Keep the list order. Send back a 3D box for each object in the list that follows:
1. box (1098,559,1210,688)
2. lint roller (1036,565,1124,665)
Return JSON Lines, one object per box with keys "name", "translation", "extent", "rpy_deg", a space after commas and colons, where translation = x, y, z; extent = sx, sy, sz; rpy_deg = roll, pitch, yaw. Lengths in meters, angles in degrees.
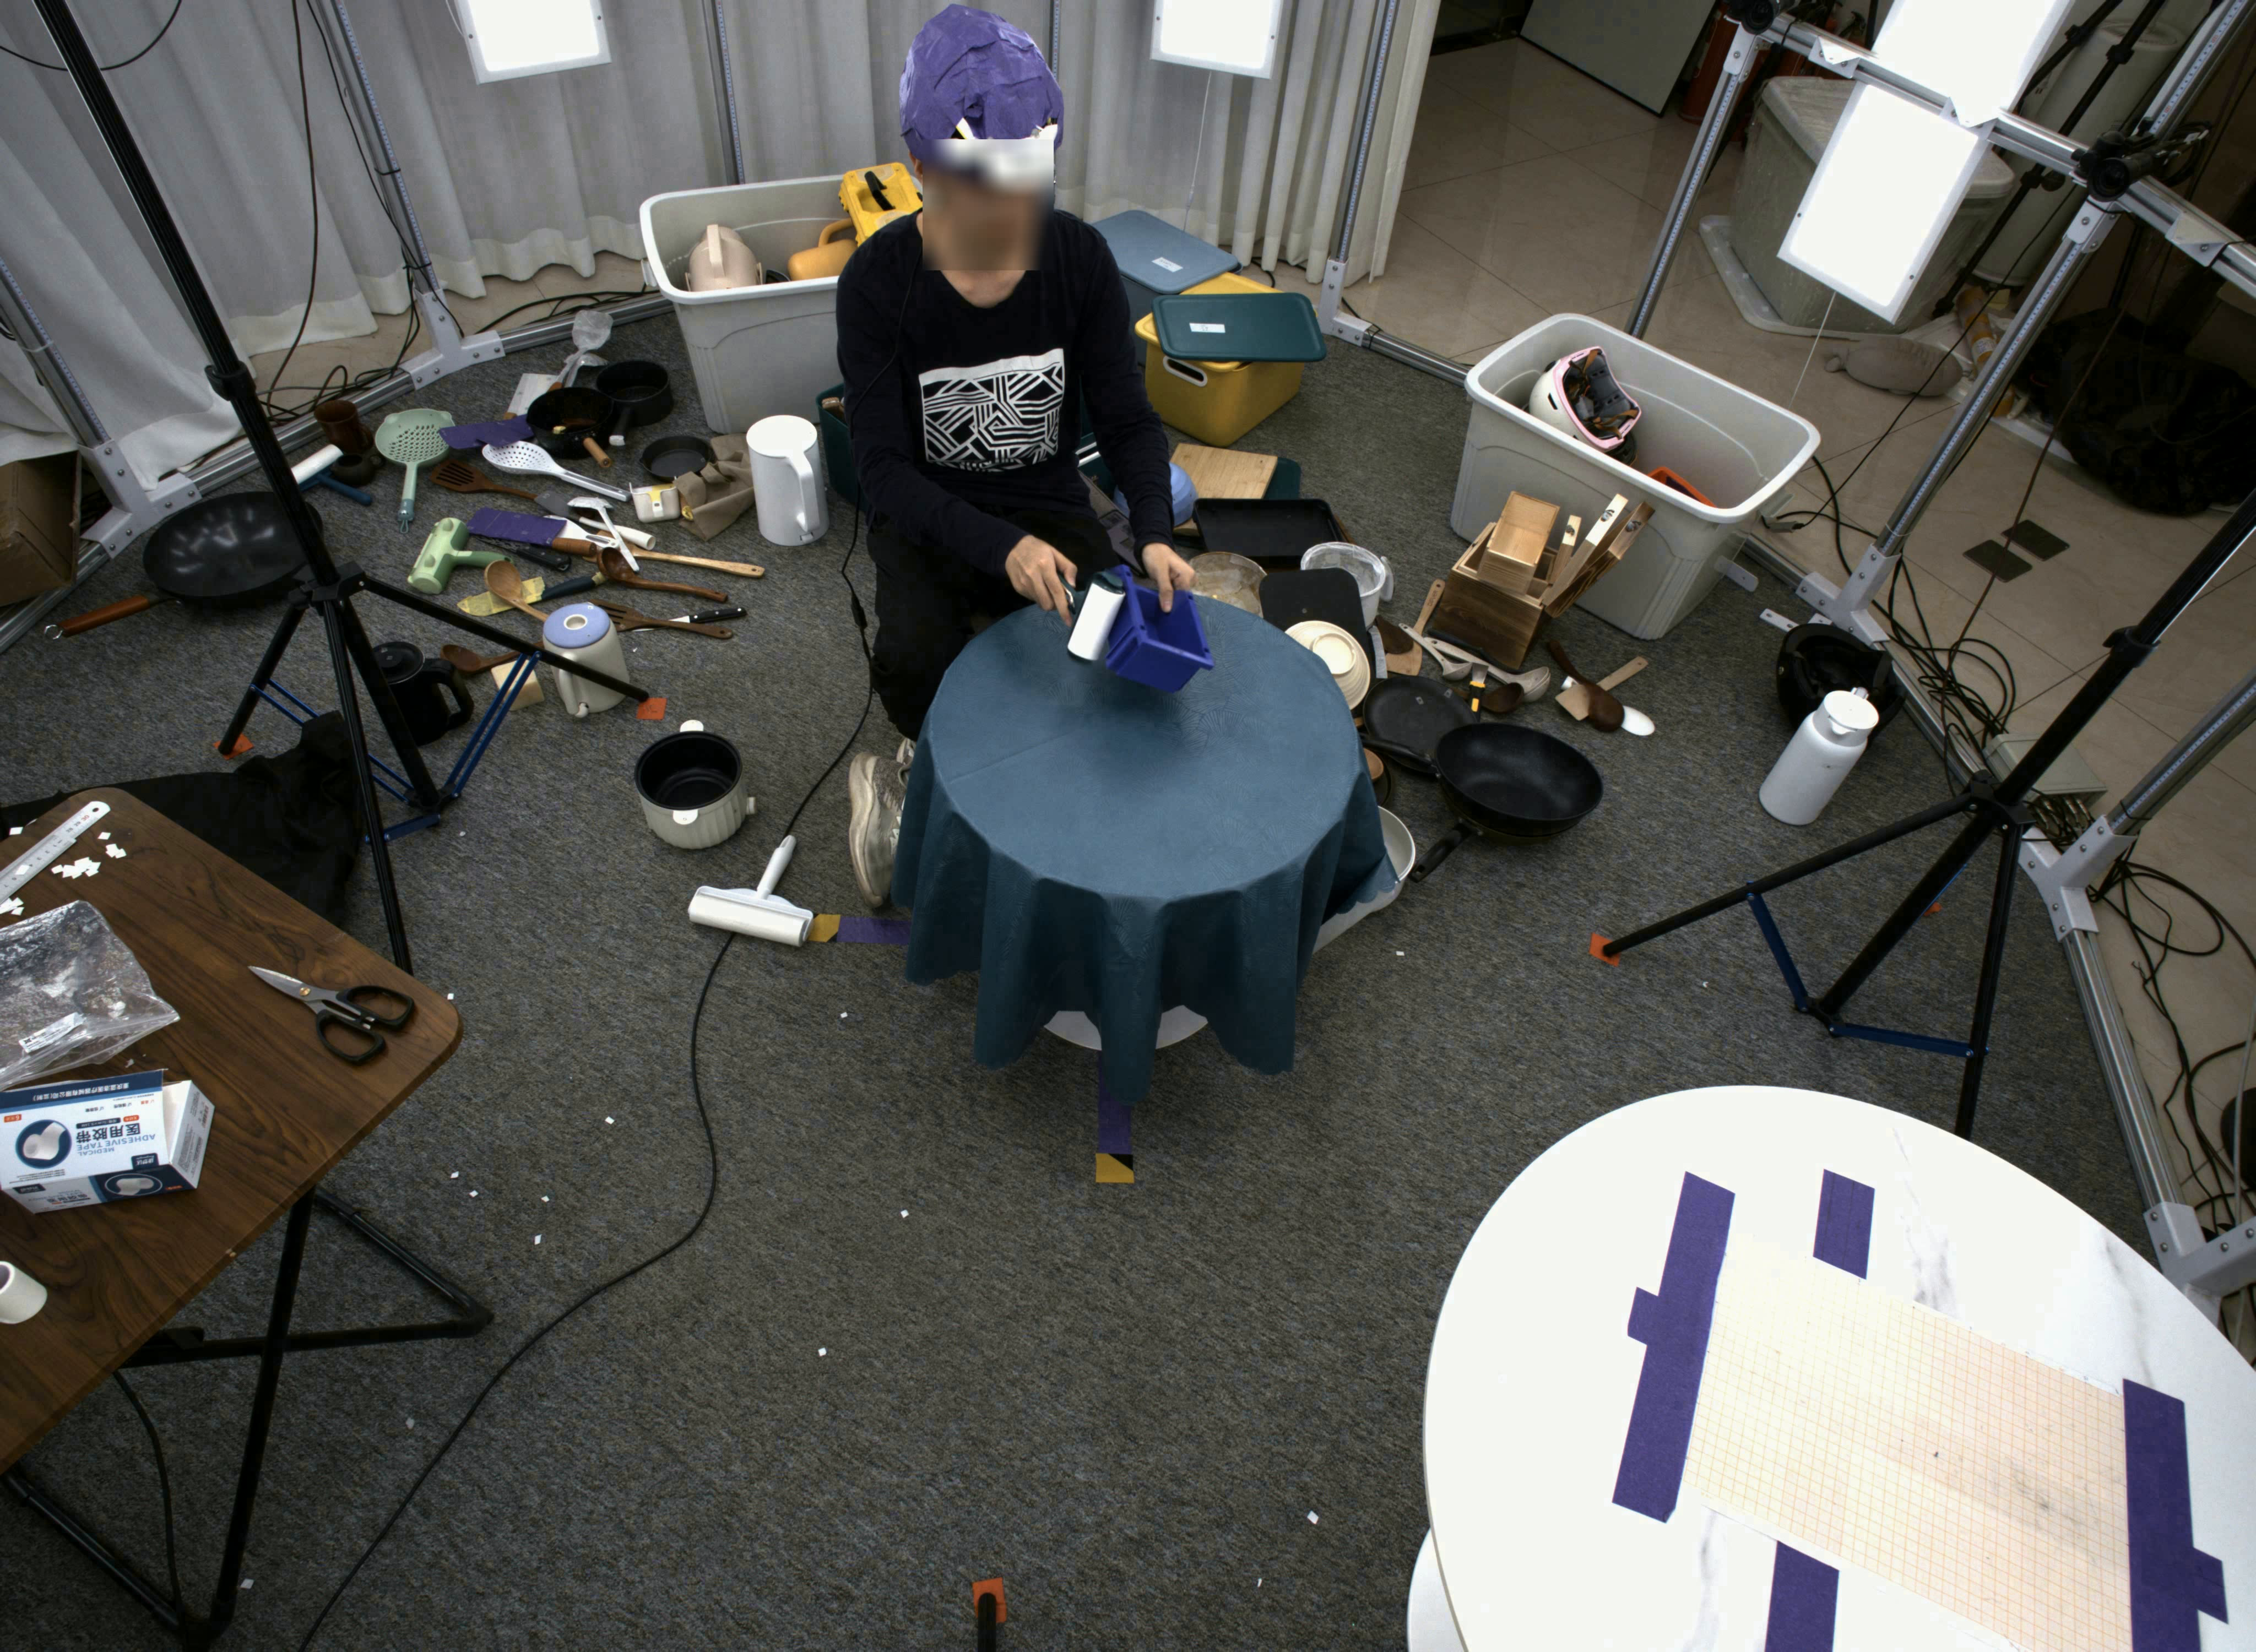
{"name": "box", "translation": [0.028, -0.285, 1.778], "extent": [0.123, 0.080, 0.184], "rpy_deg": [16, 47, -30]}
{"name": "lint roller", "translation": [-0.086, -0.318, 1.789], "extent": [0.048, 0.132, 0.183], "rpy_deg": [-6, 37, -46]}
